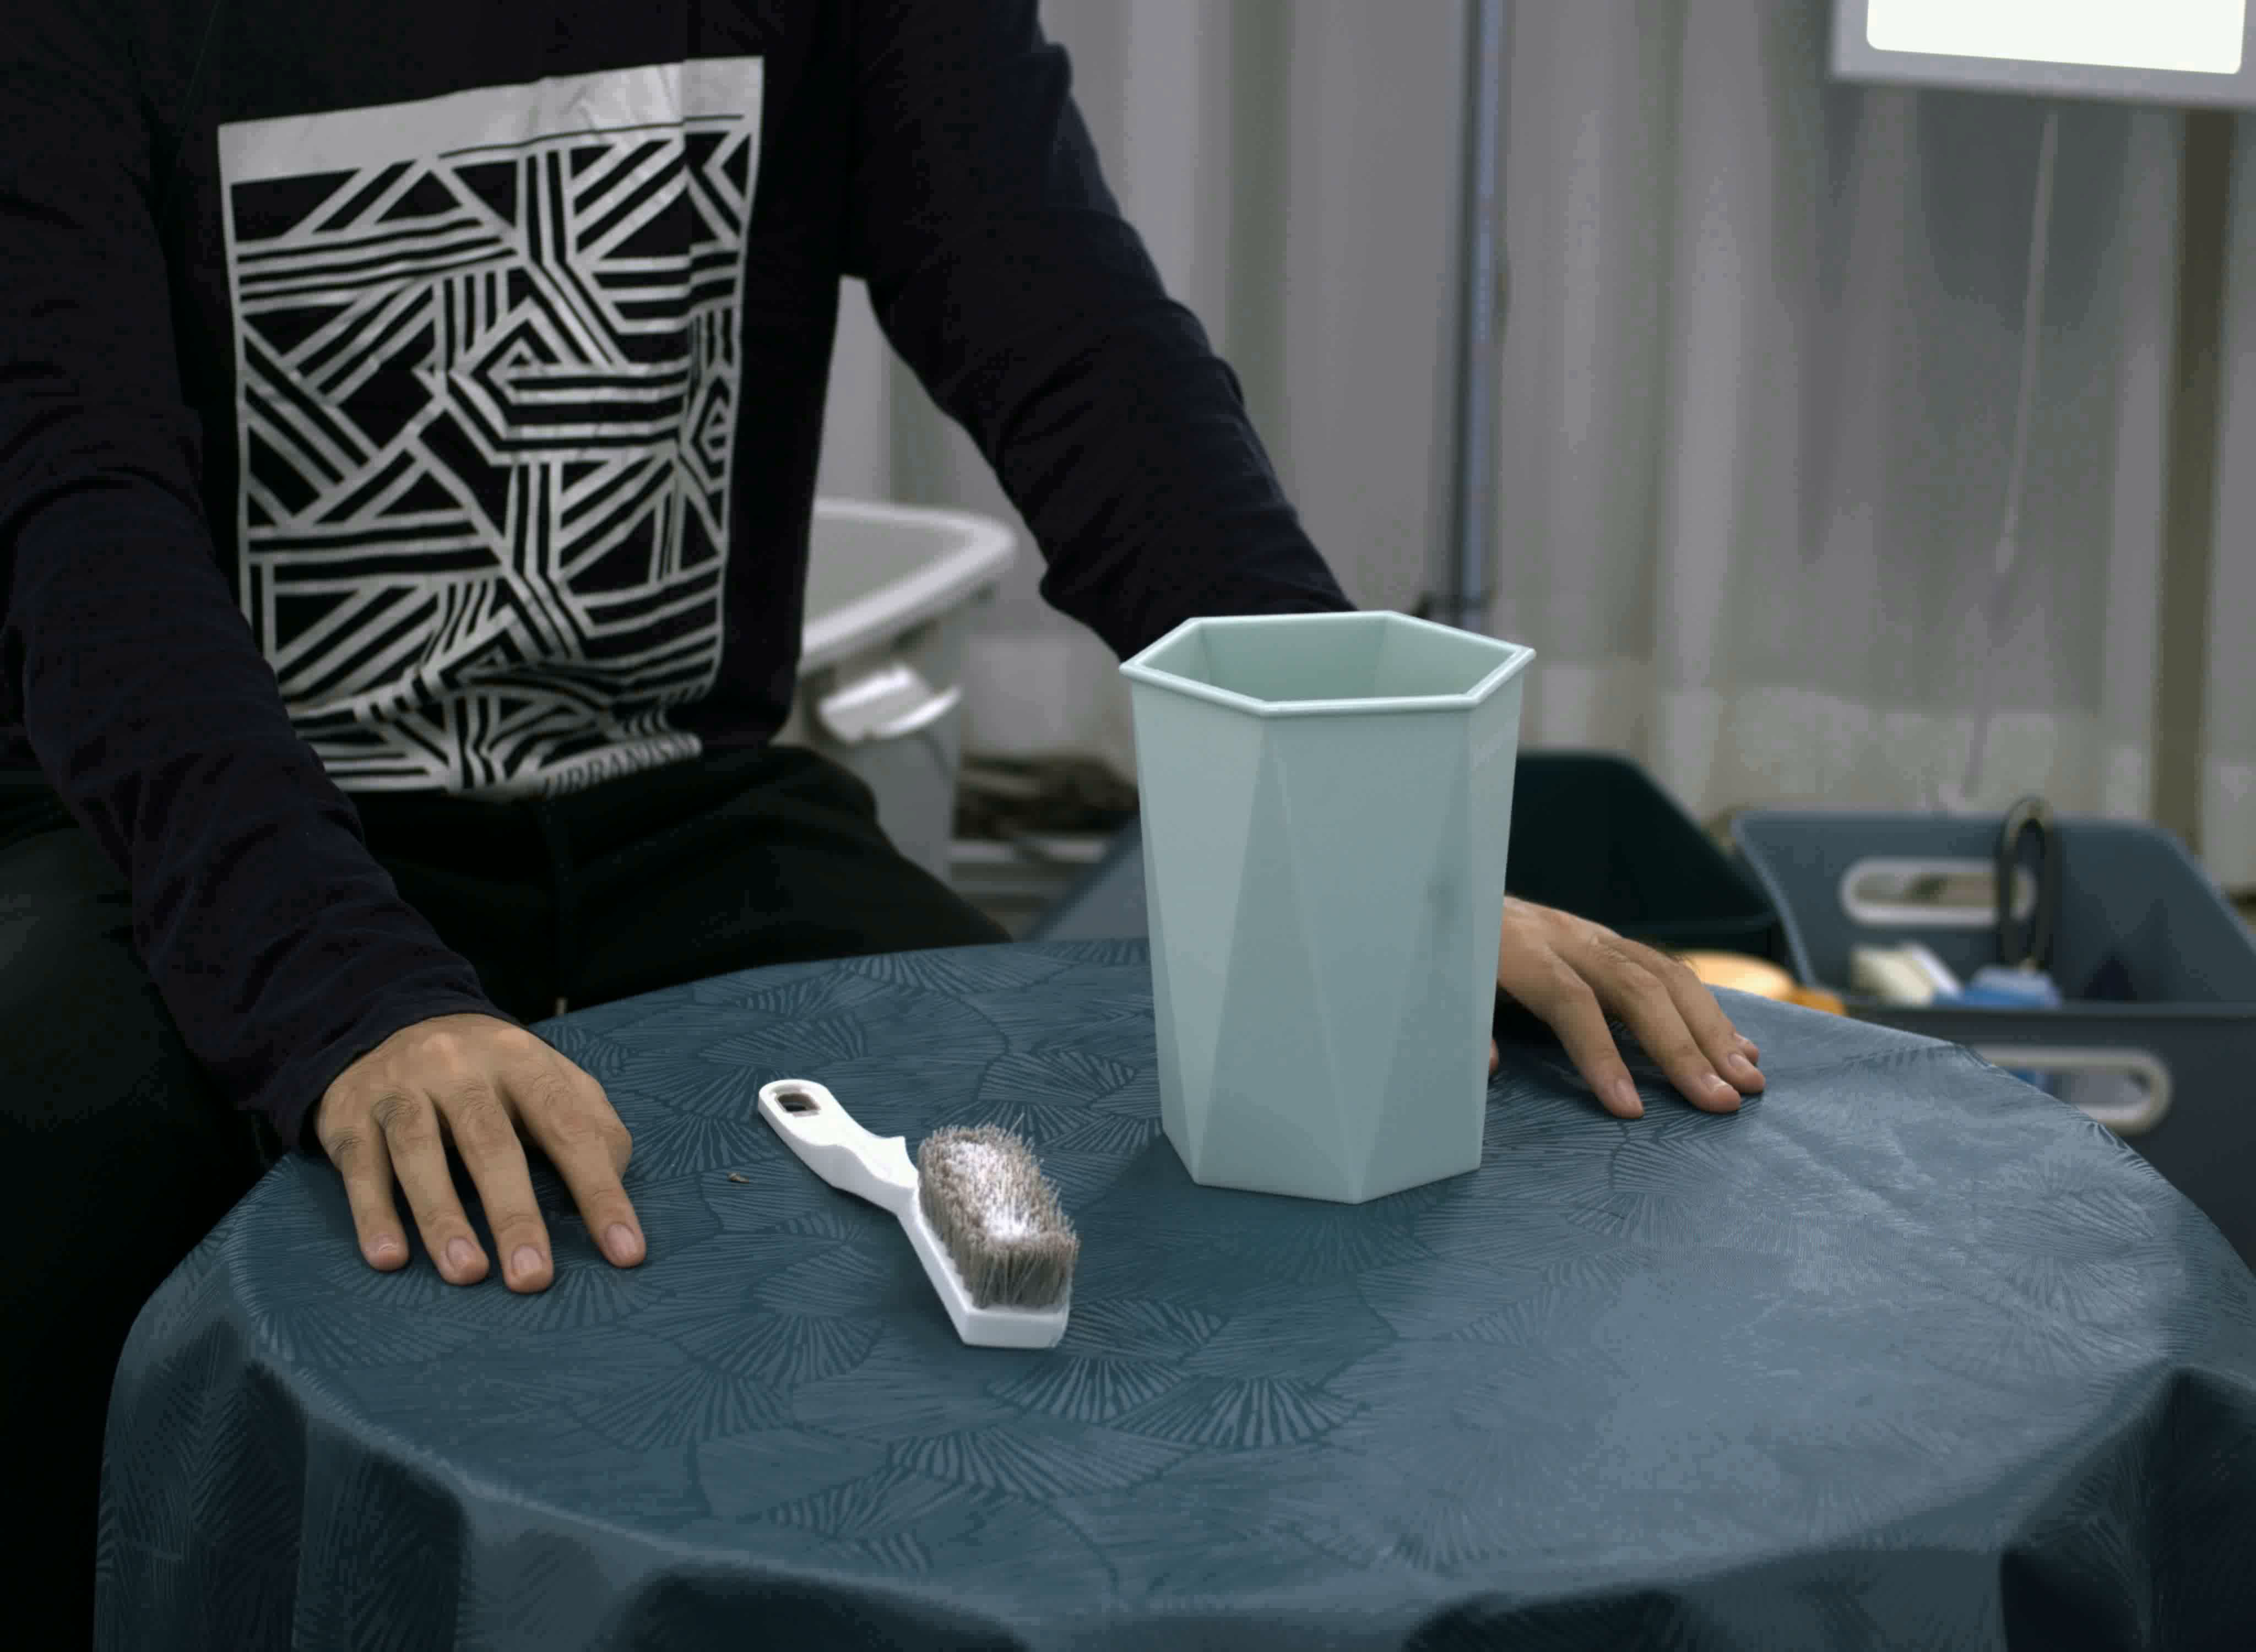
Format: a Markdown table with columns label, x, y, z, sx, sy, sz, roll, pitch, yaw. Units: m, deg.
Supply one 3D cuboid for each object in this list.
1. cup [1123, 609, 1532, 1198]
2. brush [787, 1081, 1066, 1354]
| label | x | y | z | sx | sy | sz | roll | pitch | yaw |
| --- | --- | --- | --- | --- | --- | --- | --- | --- | --- |
| cup | 0.063 | 0.024 | 1.642 | 0.114 | 0.164 | 0.131 | 4 | 16 | 17 |
| brush | -0.066 | 0.098 | 1.588 | 0.034 | 0.050 | 0.241 | -9 | 17 | -16 |
